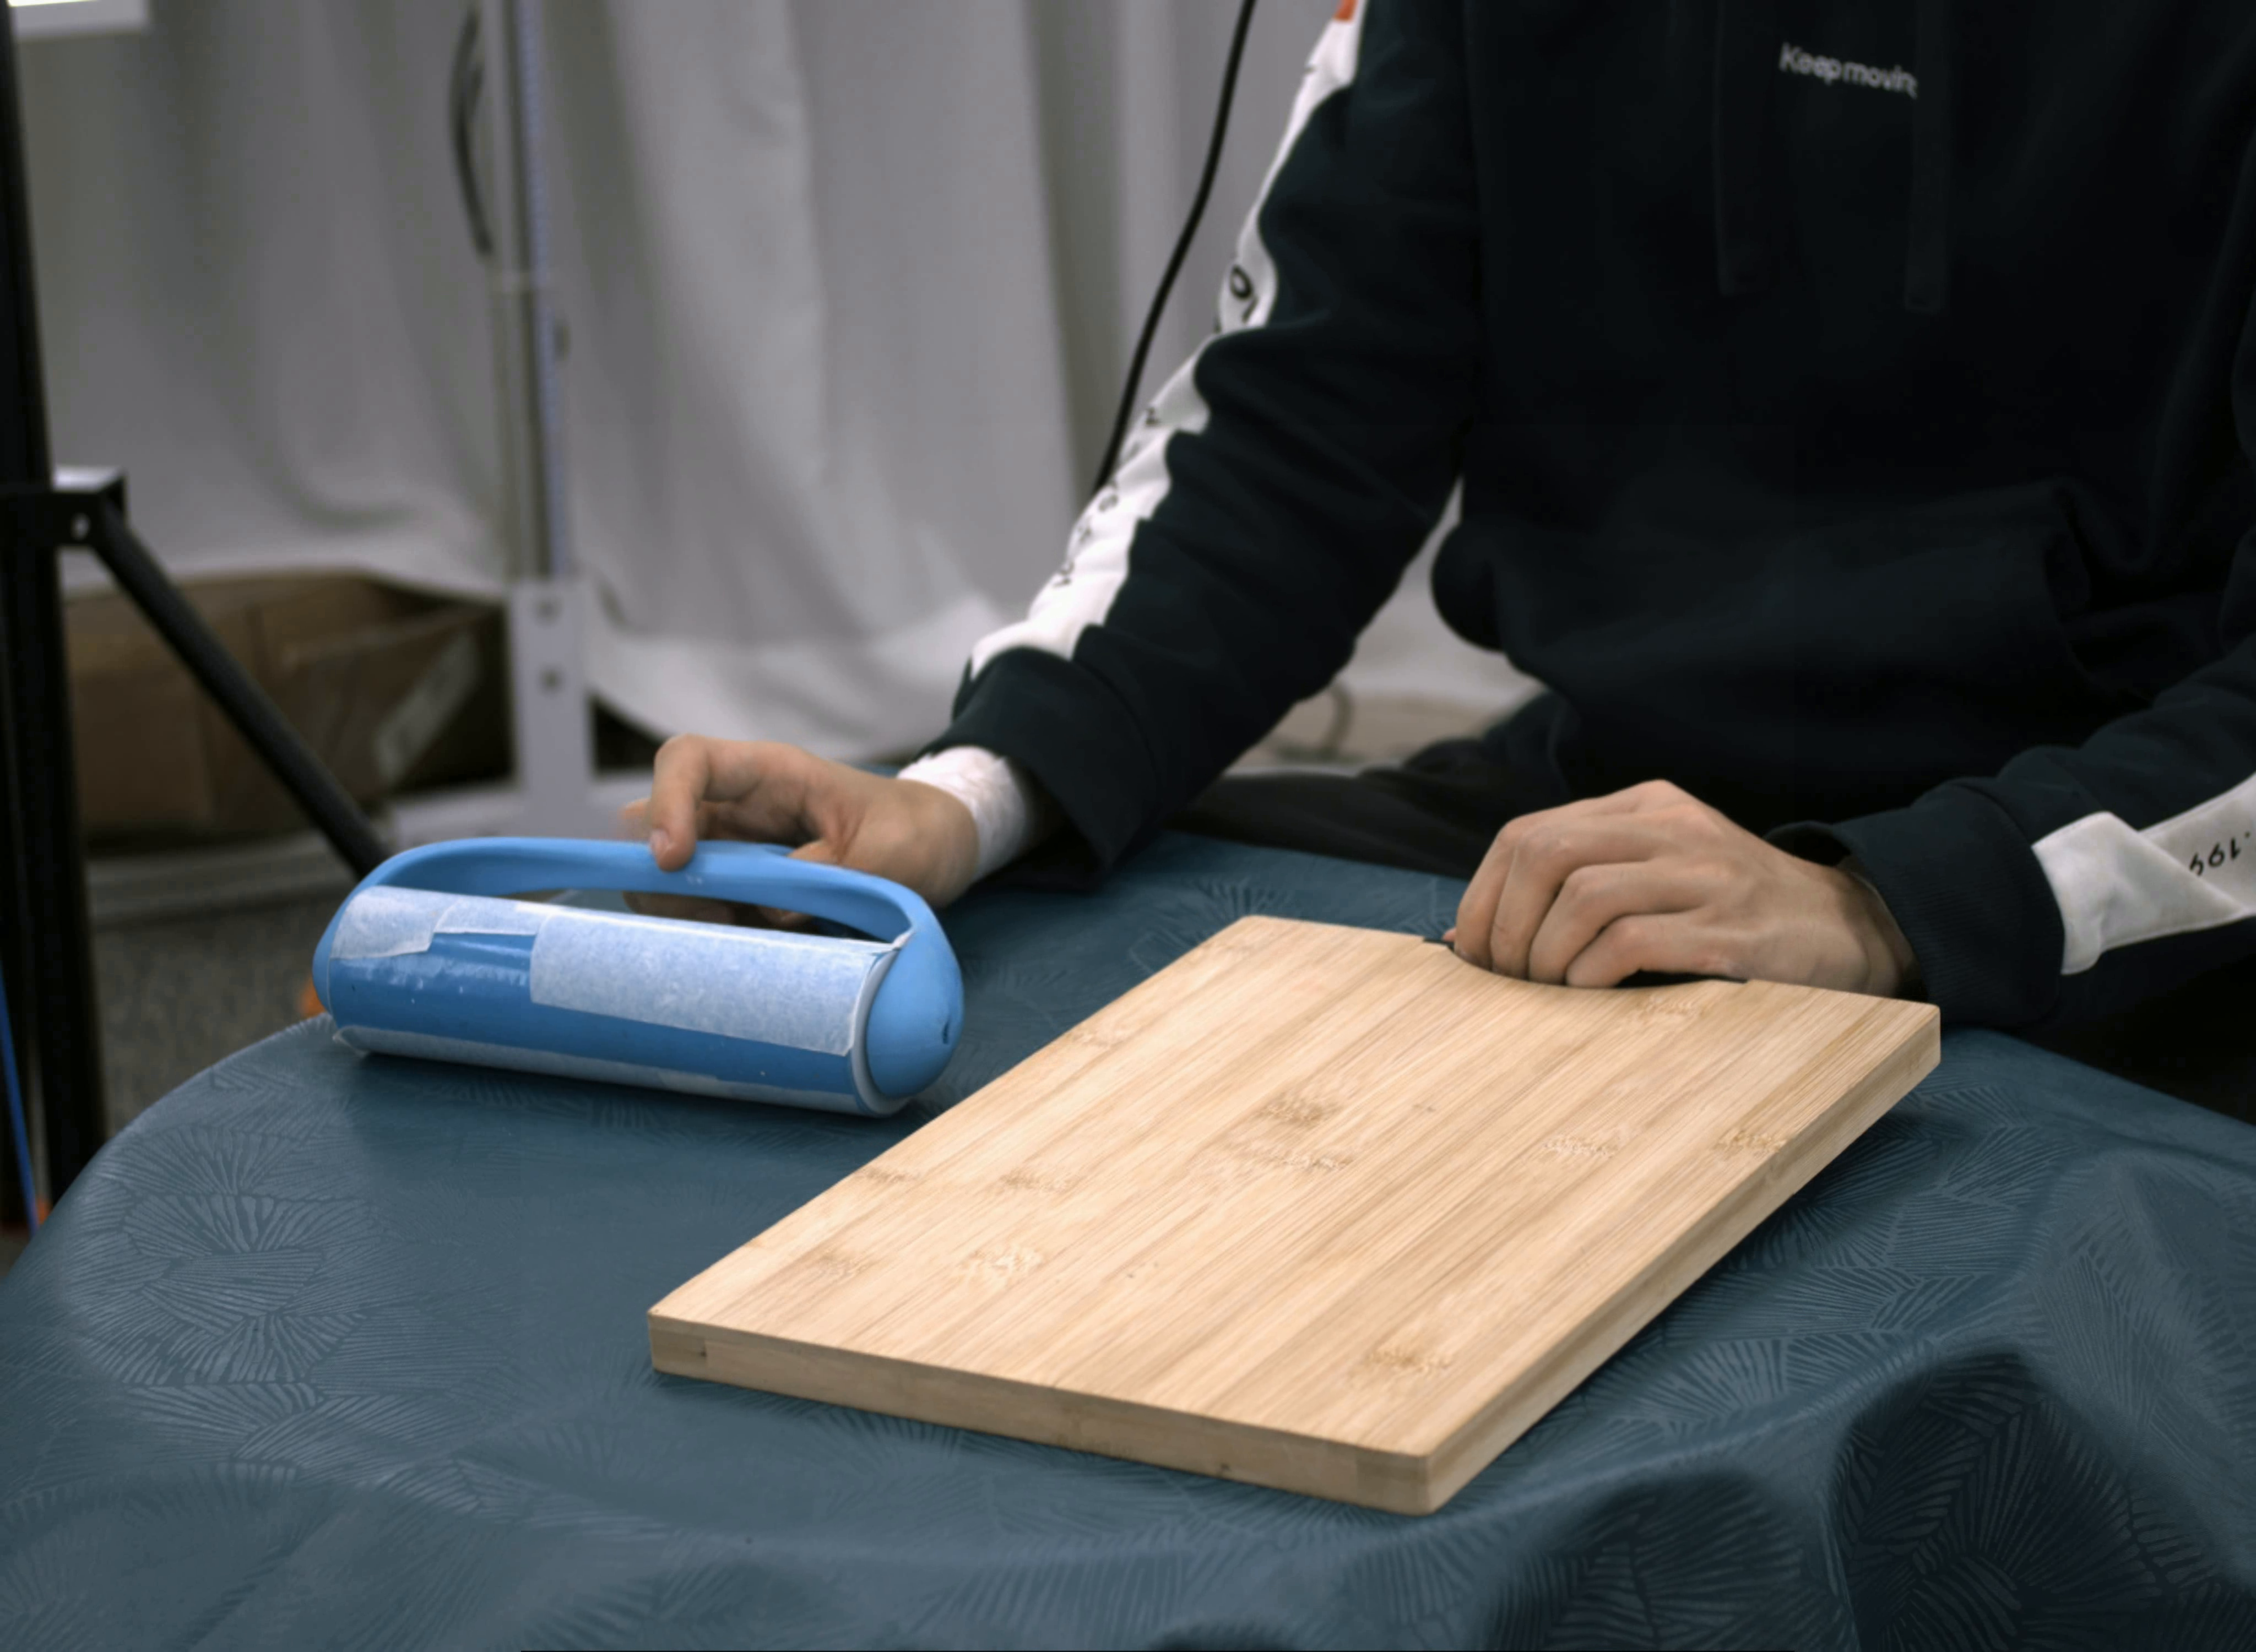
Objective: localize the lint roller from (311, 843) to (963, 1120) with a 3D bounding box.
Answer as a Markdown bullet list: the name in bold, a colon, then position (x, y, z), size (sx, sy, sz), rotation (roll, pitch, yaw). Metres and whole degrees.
- **lint roller**: position (-0.133, 0.038, 1.724), size (0.232, 0.068, 0.177), rotation (3, 18, 25)

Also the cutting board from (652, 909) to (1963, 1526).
- **cutting board**: position (0.059, 0.101, 1.512), size (0.255, 0.023, 0.343), rotation (7, 22, 30)
